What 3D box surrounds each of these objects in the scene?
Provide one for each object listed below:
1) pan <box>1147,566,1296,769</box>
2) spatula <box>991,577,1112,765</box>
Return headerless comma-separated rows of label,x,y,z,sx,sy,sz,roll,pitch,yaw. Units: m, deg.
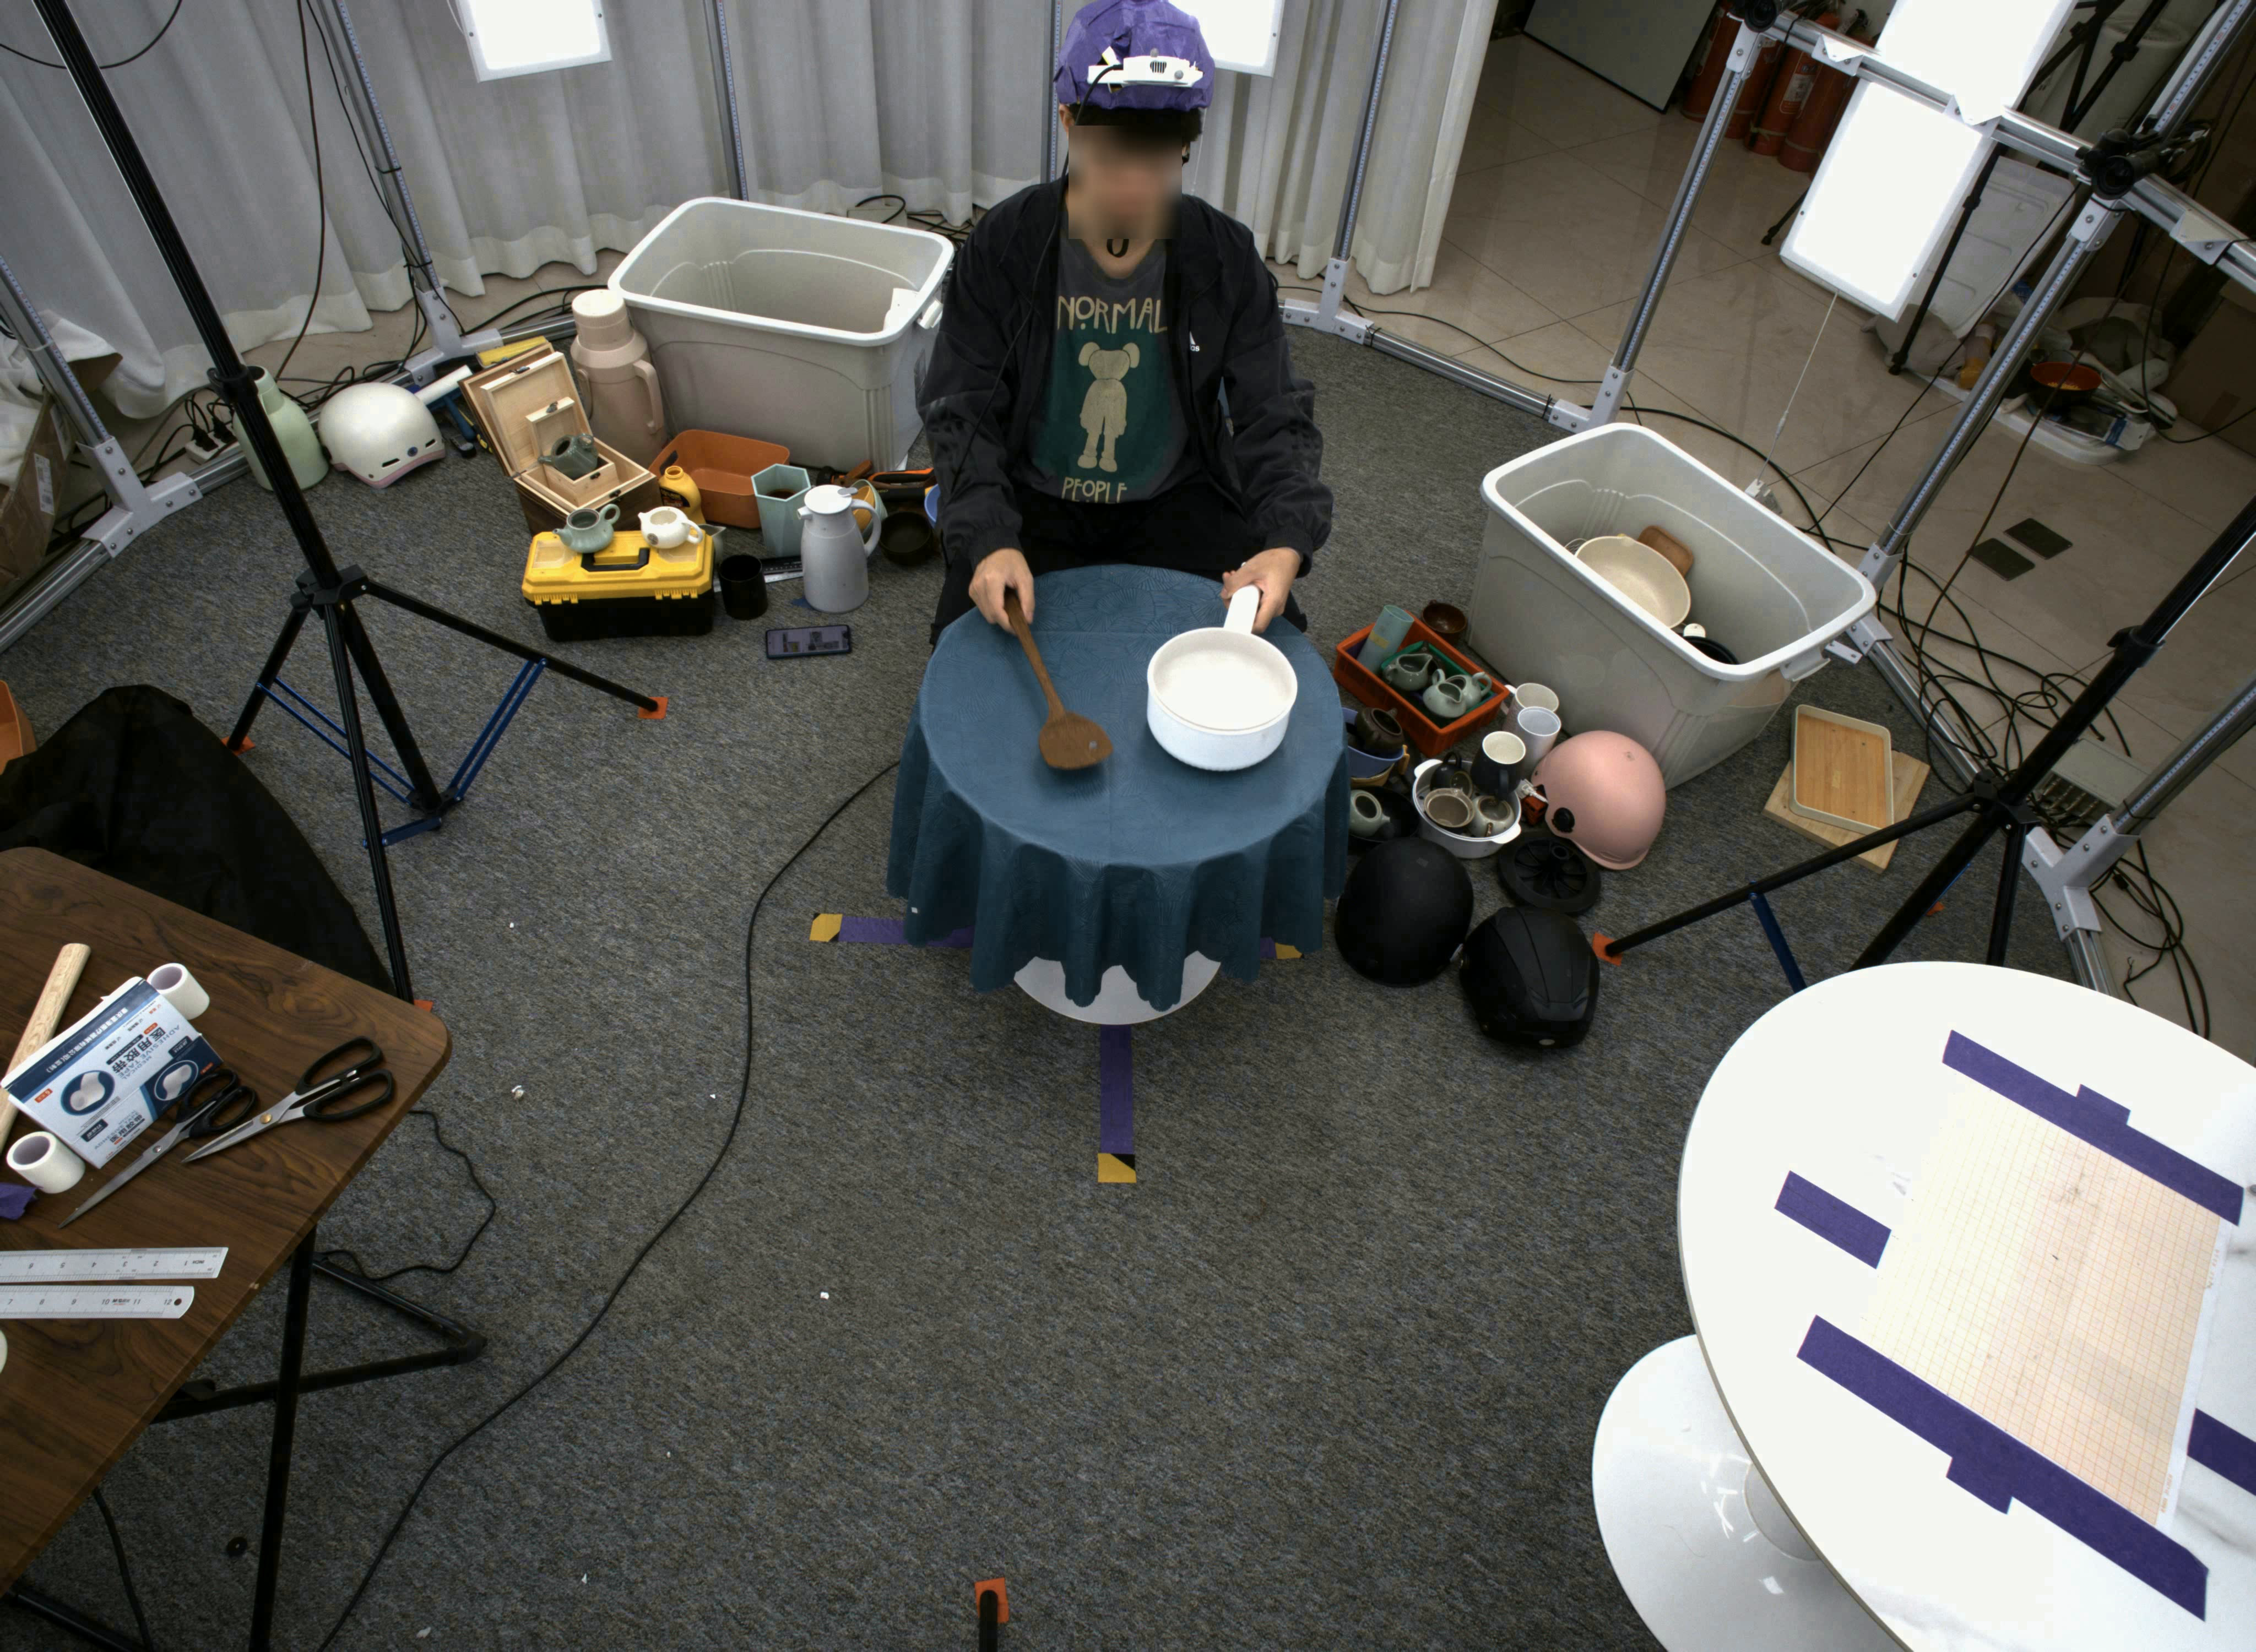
pan,0.143,-0.225,1.808,0.201,0.099,0.363,10,47,9
spatula,-0.126,-0.227,1.799,0.096,0.015,0.395,-15,53,-14
